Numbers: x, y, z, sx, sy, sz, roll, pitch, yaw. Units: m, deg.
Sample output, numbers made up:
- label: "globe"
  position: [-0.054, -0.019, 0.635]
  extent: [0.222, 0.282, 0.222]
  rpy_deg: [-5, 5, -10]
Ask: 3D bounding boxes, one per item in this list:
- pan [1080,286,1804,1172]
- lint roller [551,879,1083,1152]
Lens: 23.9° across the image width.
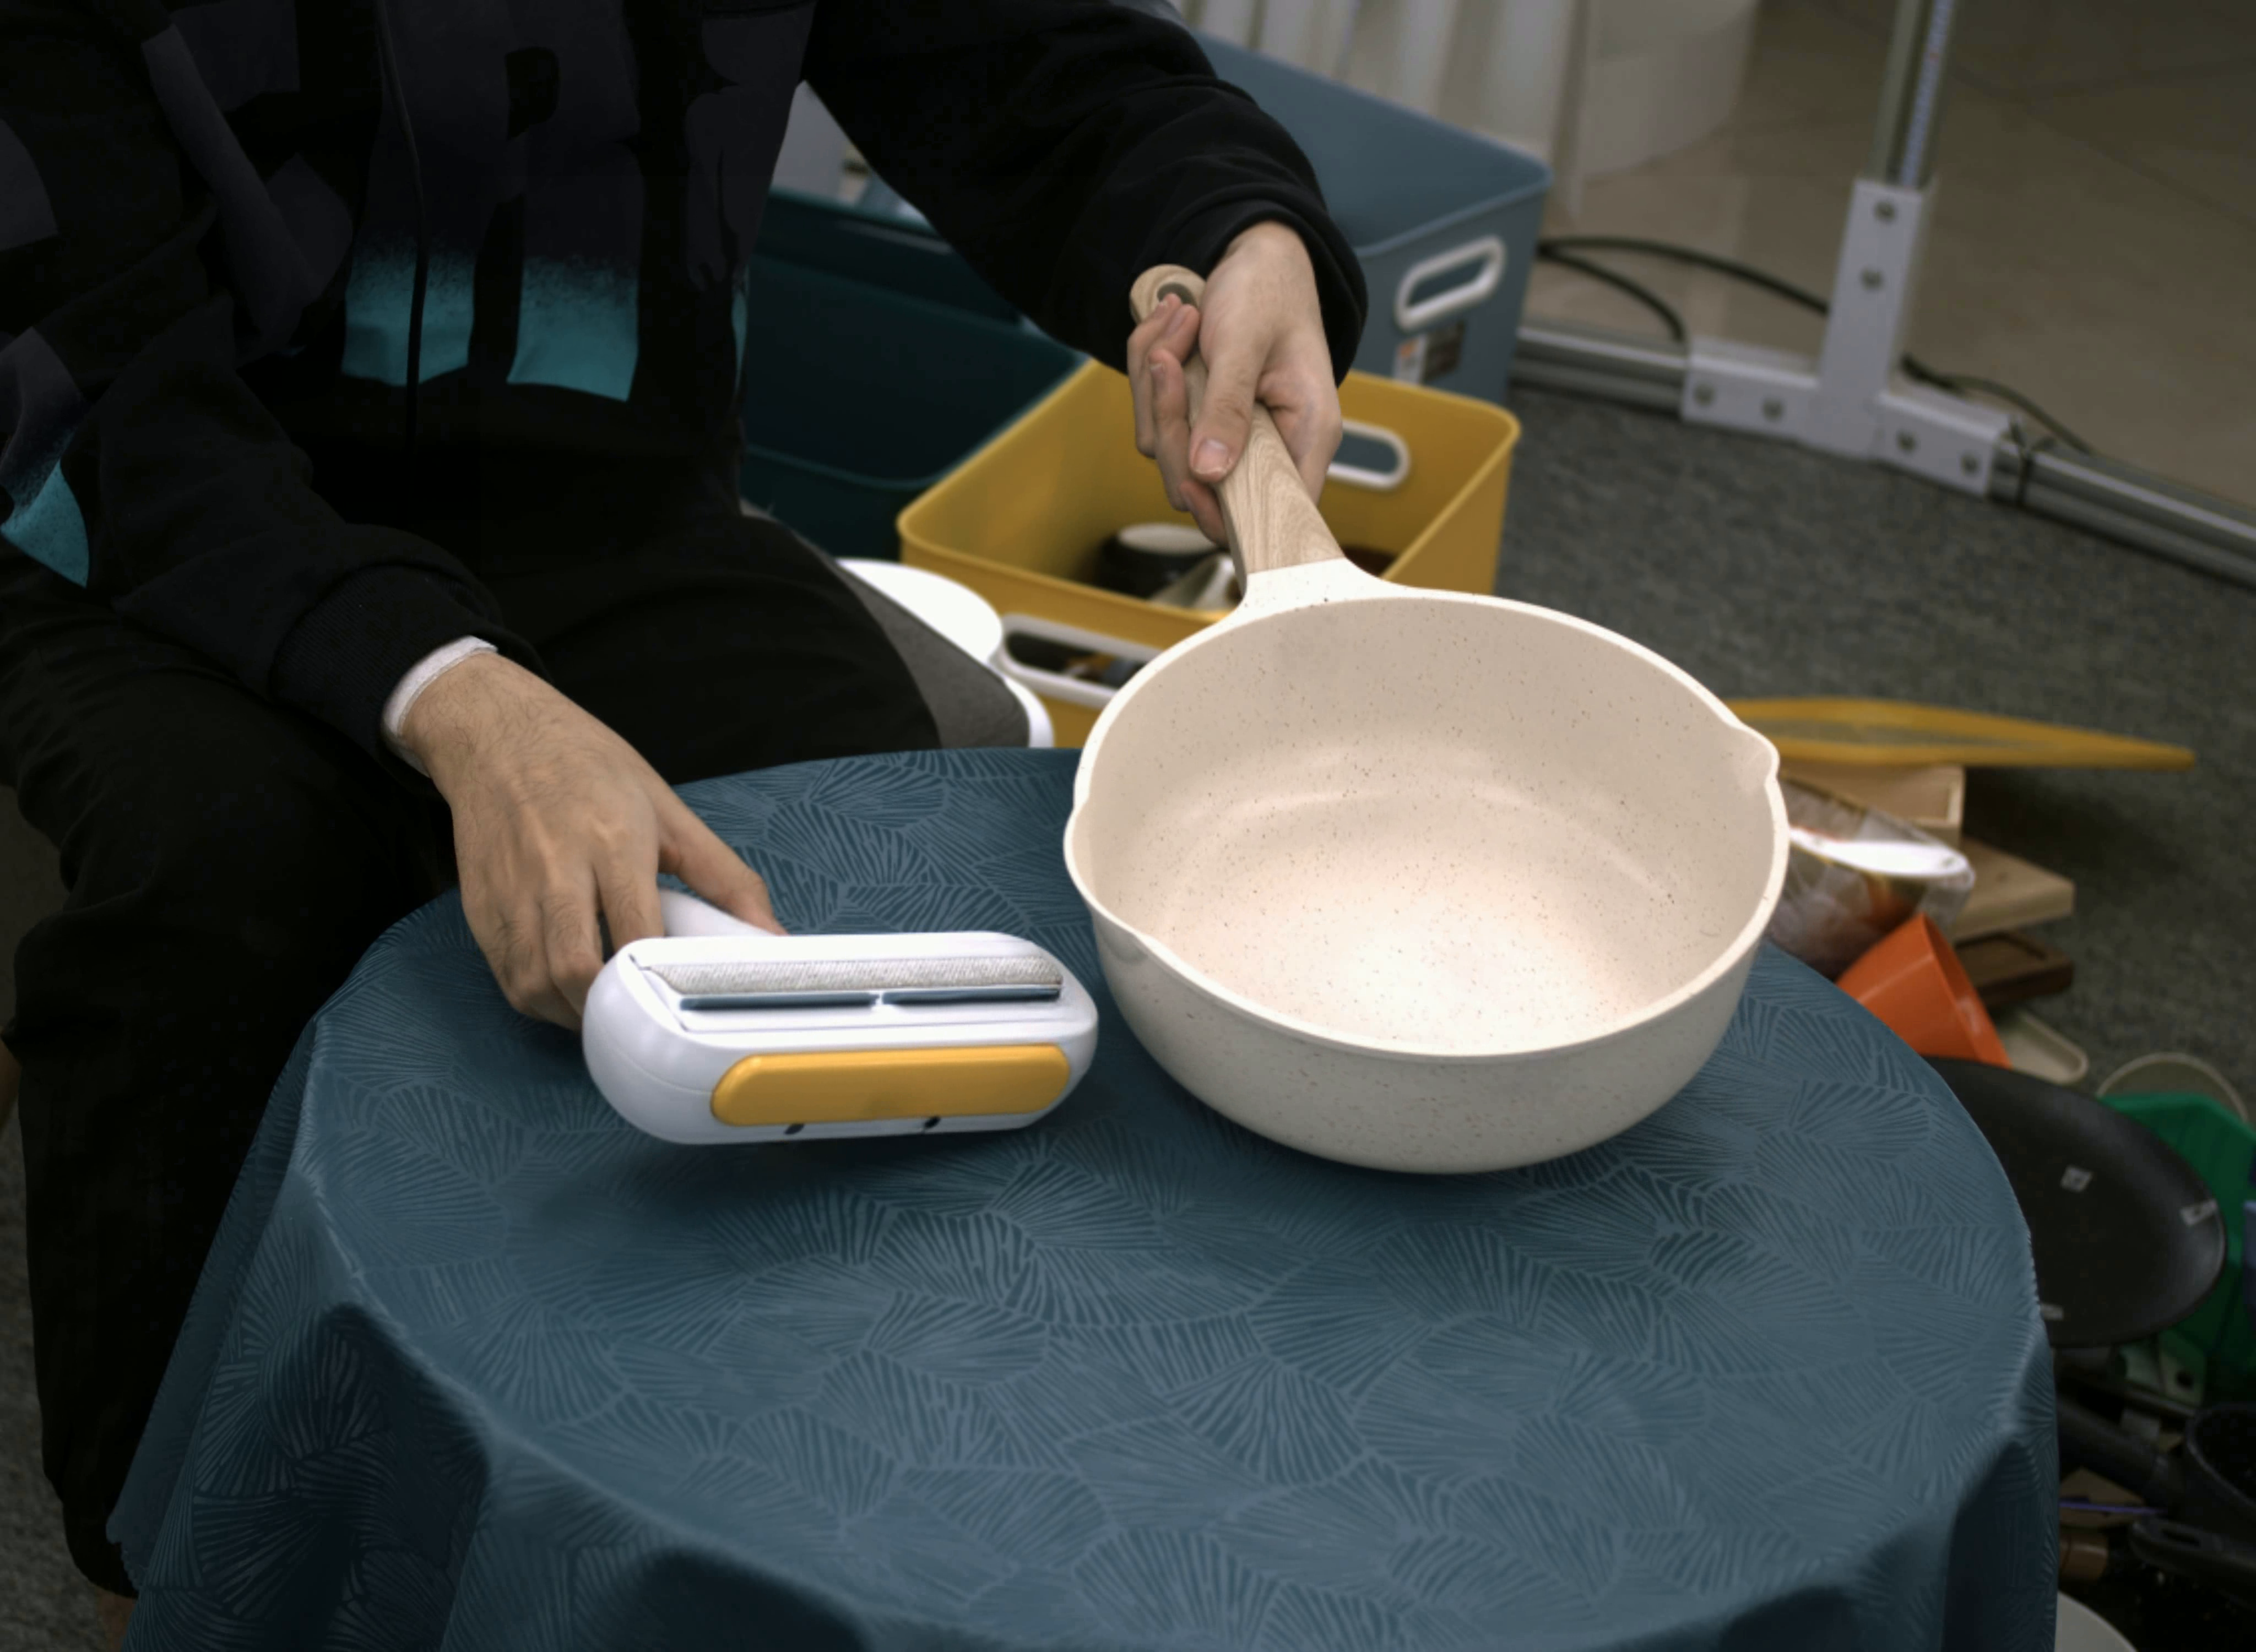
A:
- label: "pan"
  position: [0.080, -0.038, 1.945]
  extent: [0.262, 0.101, 0.439]
  rpy_deg: [-12, 42, -14]
- label: "lint roller"
  position: [-0.134, 0.052, 1.831]
  extent: [0.191, 0.074, 0.194]
  rpy_deg: [-2, 27, -34]
